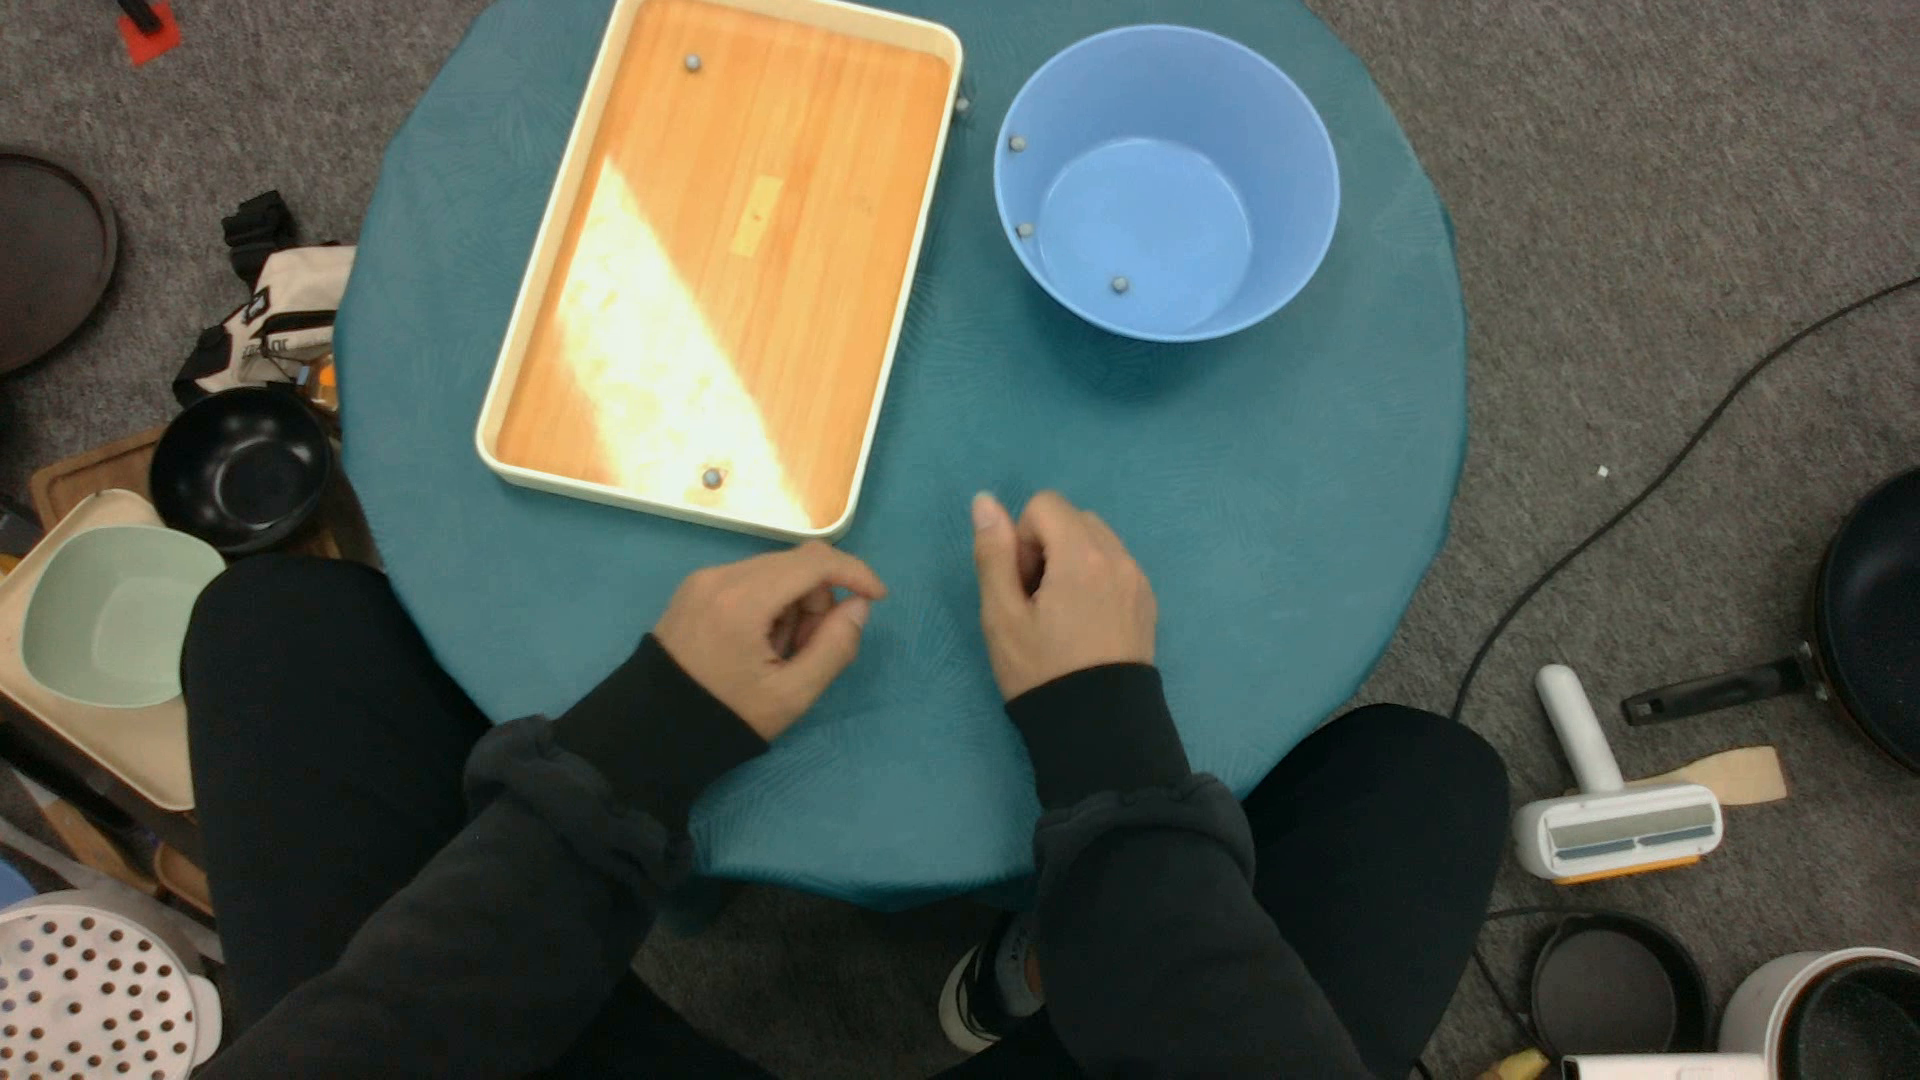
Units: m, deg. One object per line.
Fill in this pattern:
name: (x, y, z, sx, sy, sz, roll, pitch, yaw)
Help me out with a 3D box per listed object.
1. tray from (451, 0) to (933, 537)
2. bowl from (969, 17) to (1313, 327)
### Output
tray: (-0.133, -0.160, 0.726, 0.191, 0.027, 0.301, 12, 73, -2)
bowl: (0.090, -0.181, 0.727, 0.176, 0.070, 0.176, 1, 74, -3)
